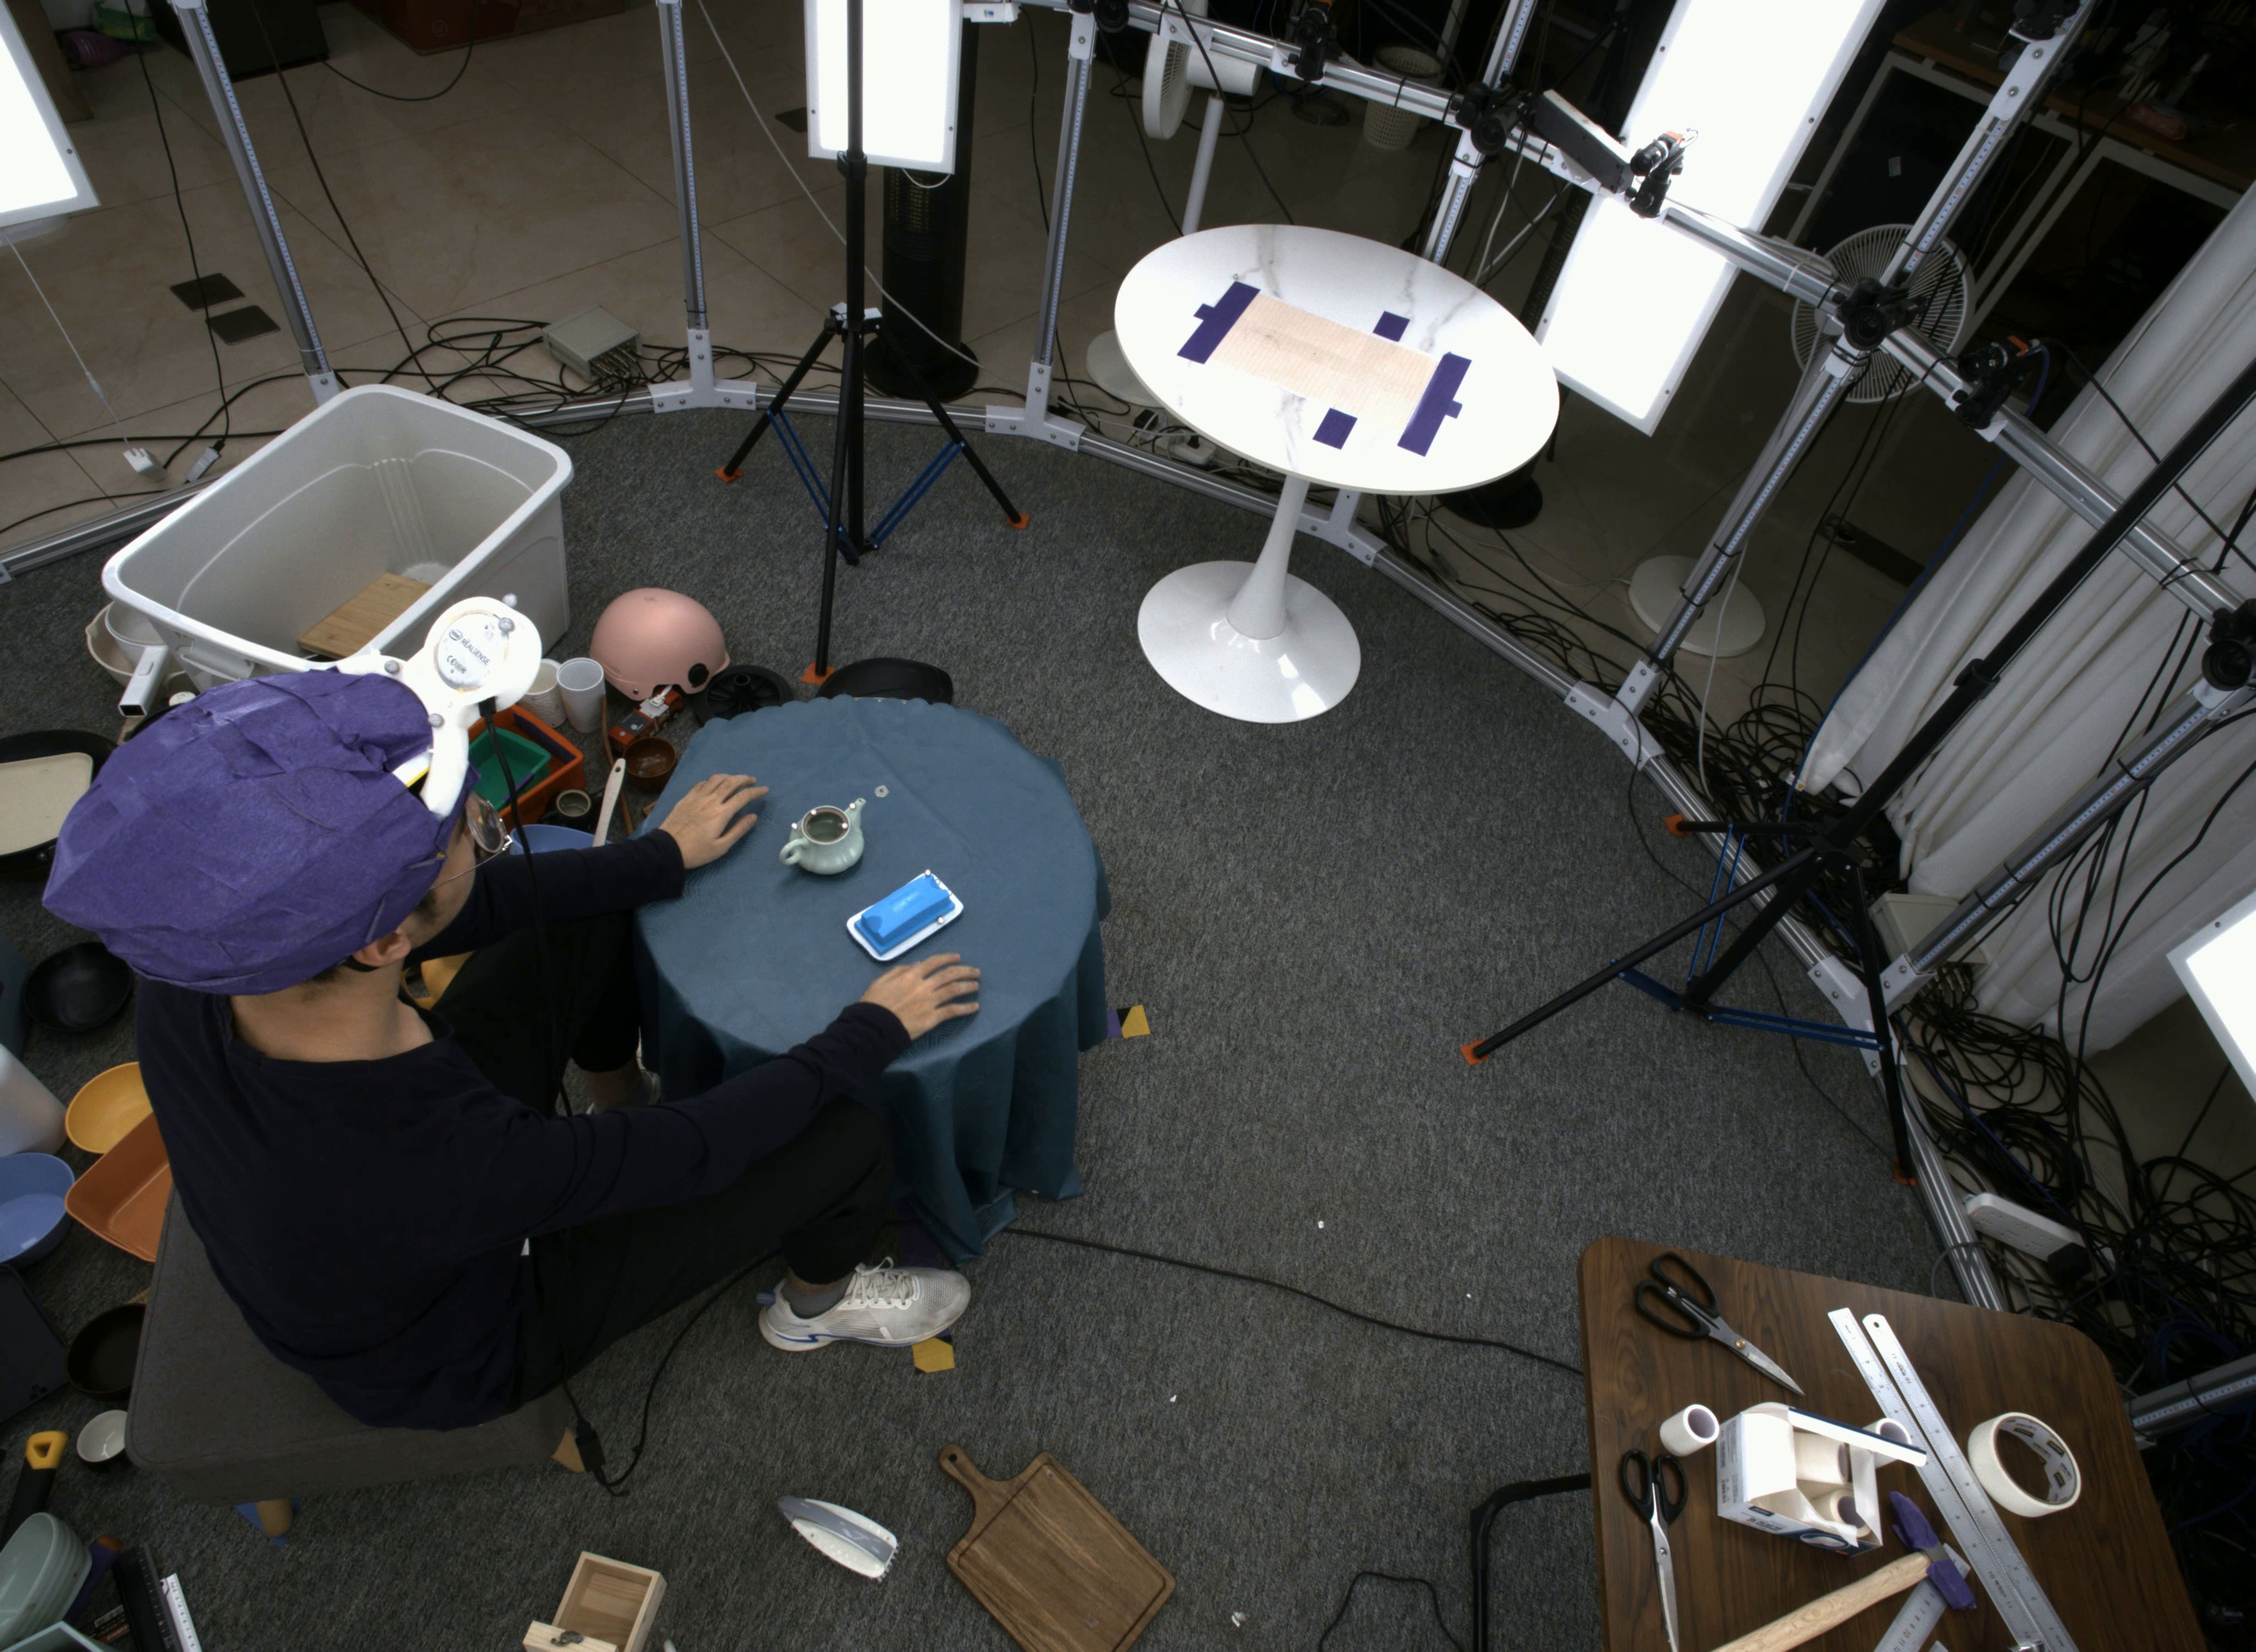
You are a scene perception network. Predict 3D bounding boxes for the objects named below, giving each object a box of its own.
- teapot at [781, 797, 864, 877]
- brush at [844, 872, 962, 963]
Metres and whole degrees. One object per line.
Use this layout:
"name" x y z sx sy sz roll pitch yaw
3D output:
"teapot" -0.395 0.017 1.682 0.094 0.062 0.137 40 55 16
"brush" -0.284 0.106 1.642 0.144 0.057 0.081 -31 62 -33
